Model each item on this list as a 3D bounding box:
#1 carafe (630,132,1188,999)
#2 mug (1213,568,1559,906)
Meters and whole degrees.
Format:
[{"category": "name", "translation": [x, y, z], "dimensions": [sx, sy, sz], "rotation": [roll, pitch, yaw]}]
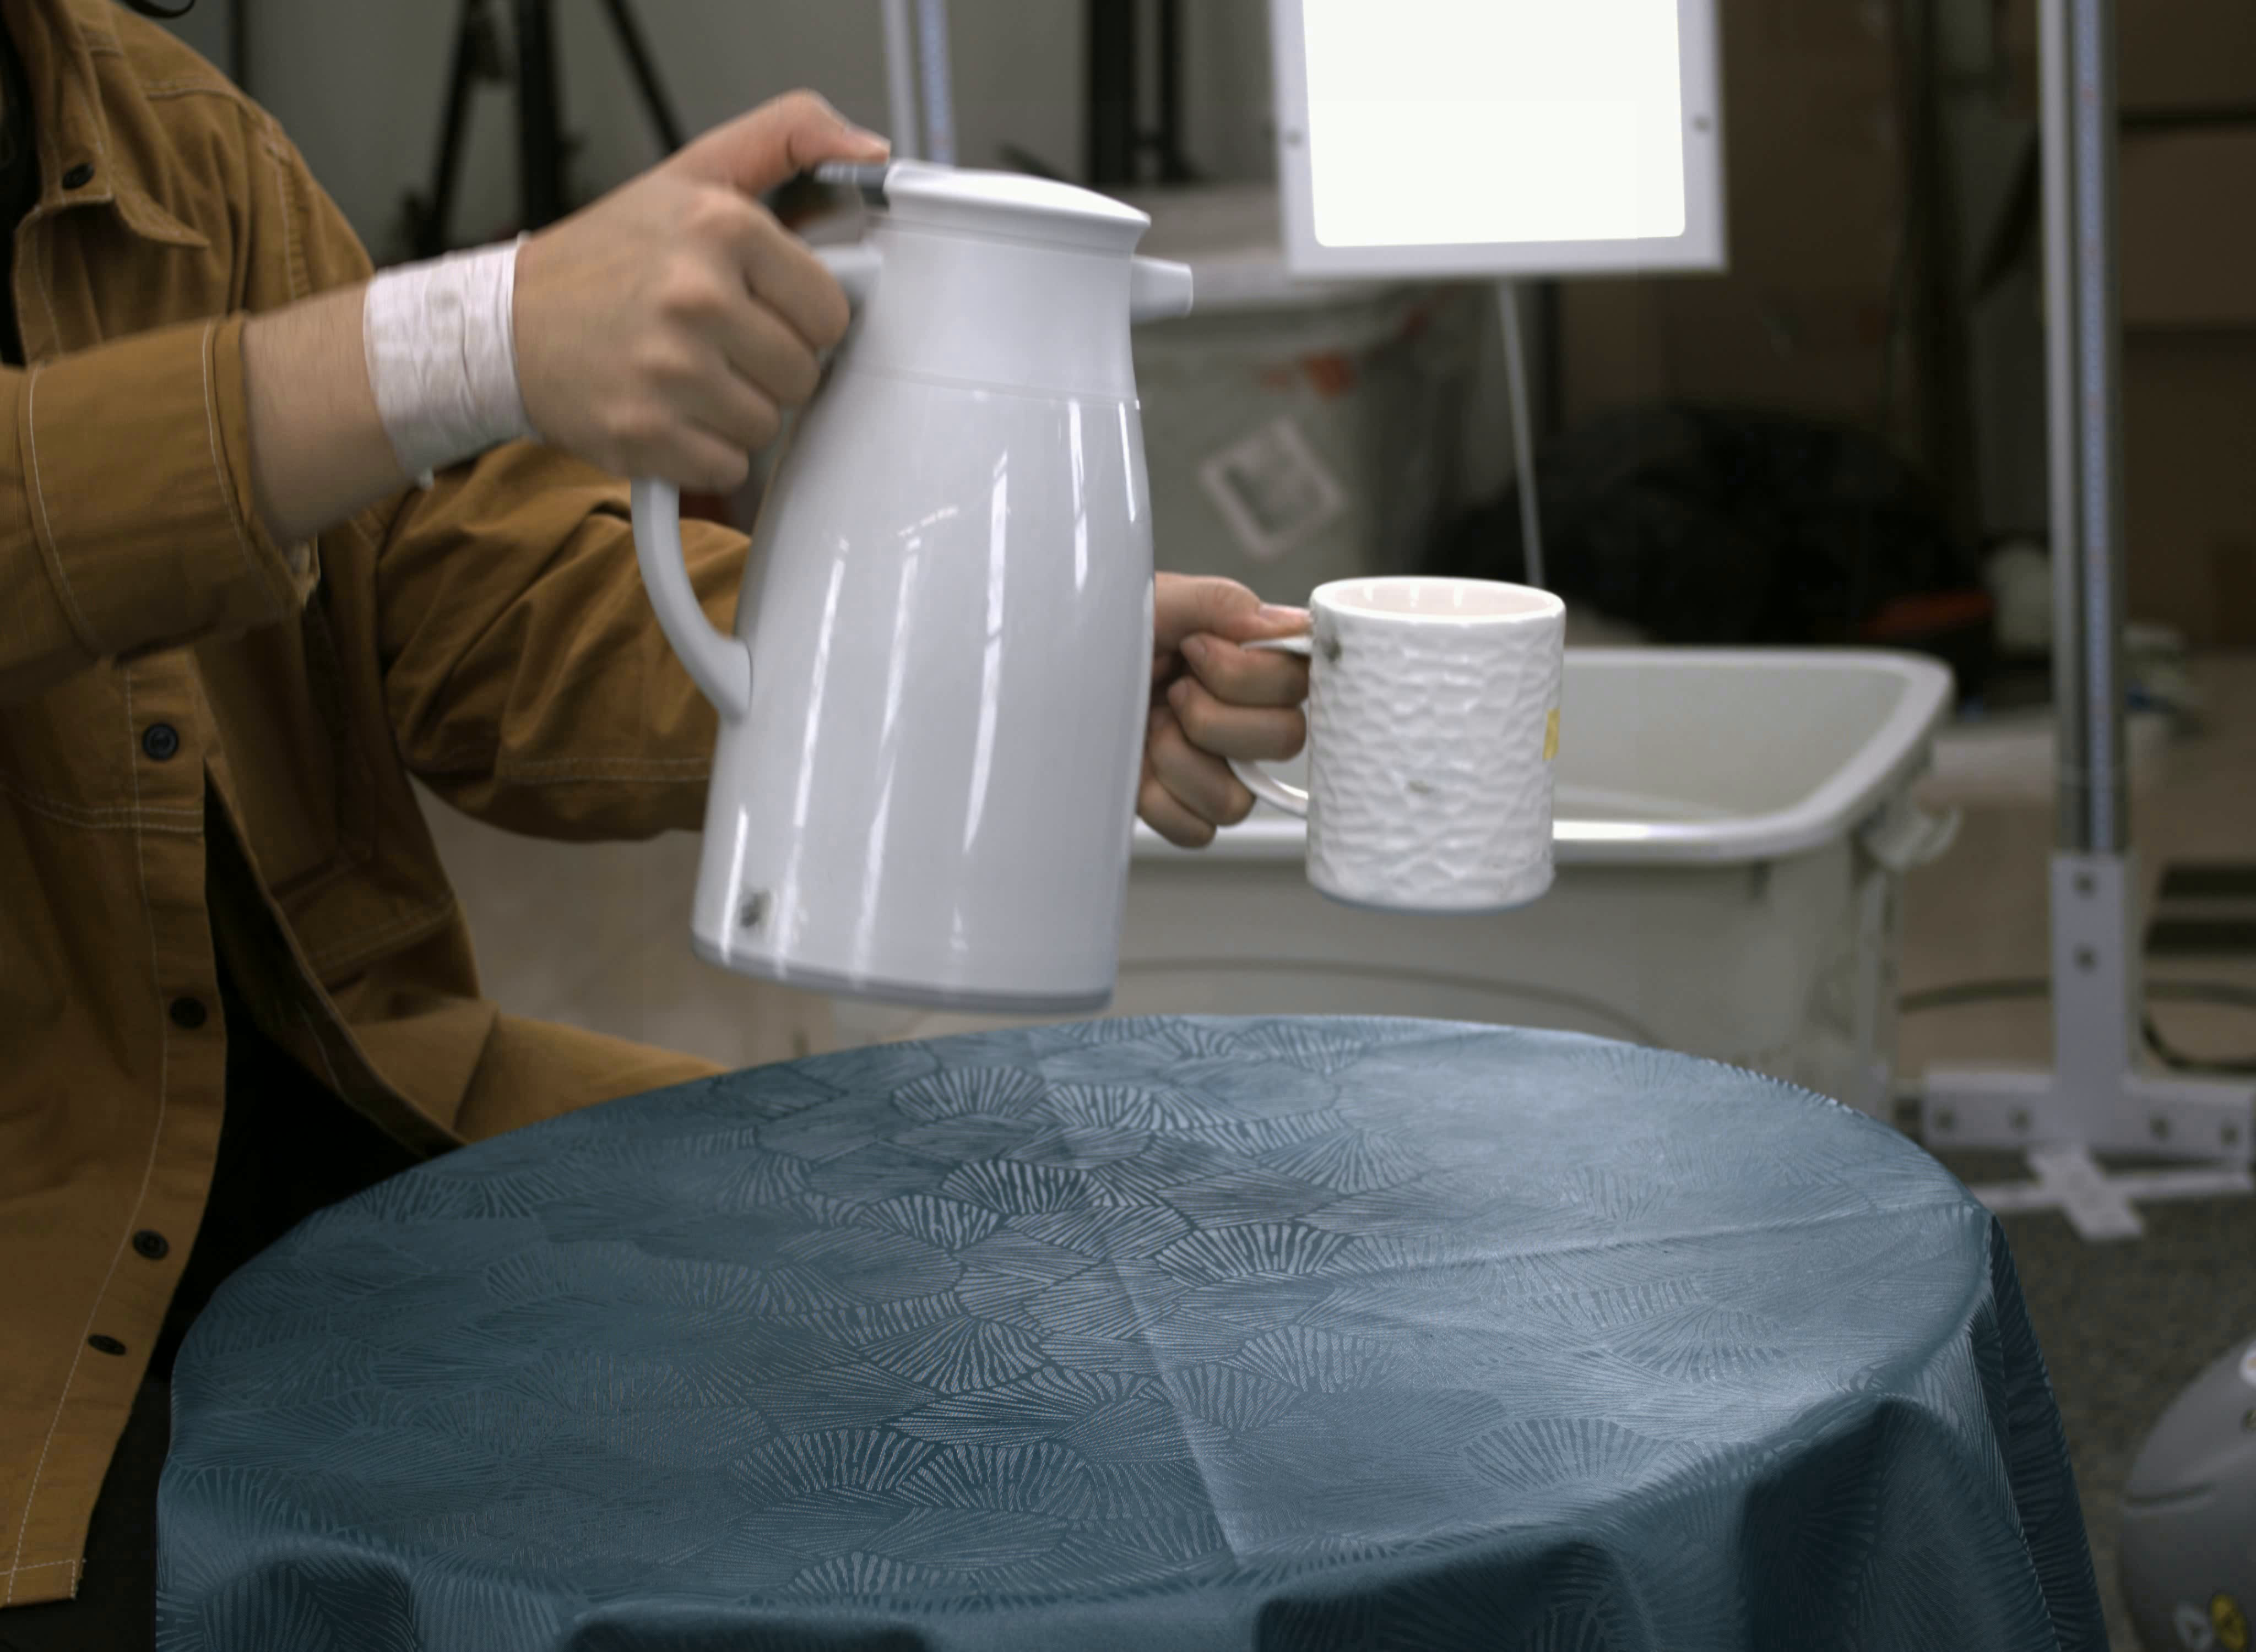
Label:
[{"category": "carafe", "translation": [-0.072, -0.083, 1.670], "dimensions": [0.164, 0.250, 0.134], "rotation": [5, 7, -23]}, {"category": "mug", "translation": [0.086, -0.032, 1.855], "dimensions": [0.120, 0.102, 0.083], "rotation": [5, 12, 19]}]
